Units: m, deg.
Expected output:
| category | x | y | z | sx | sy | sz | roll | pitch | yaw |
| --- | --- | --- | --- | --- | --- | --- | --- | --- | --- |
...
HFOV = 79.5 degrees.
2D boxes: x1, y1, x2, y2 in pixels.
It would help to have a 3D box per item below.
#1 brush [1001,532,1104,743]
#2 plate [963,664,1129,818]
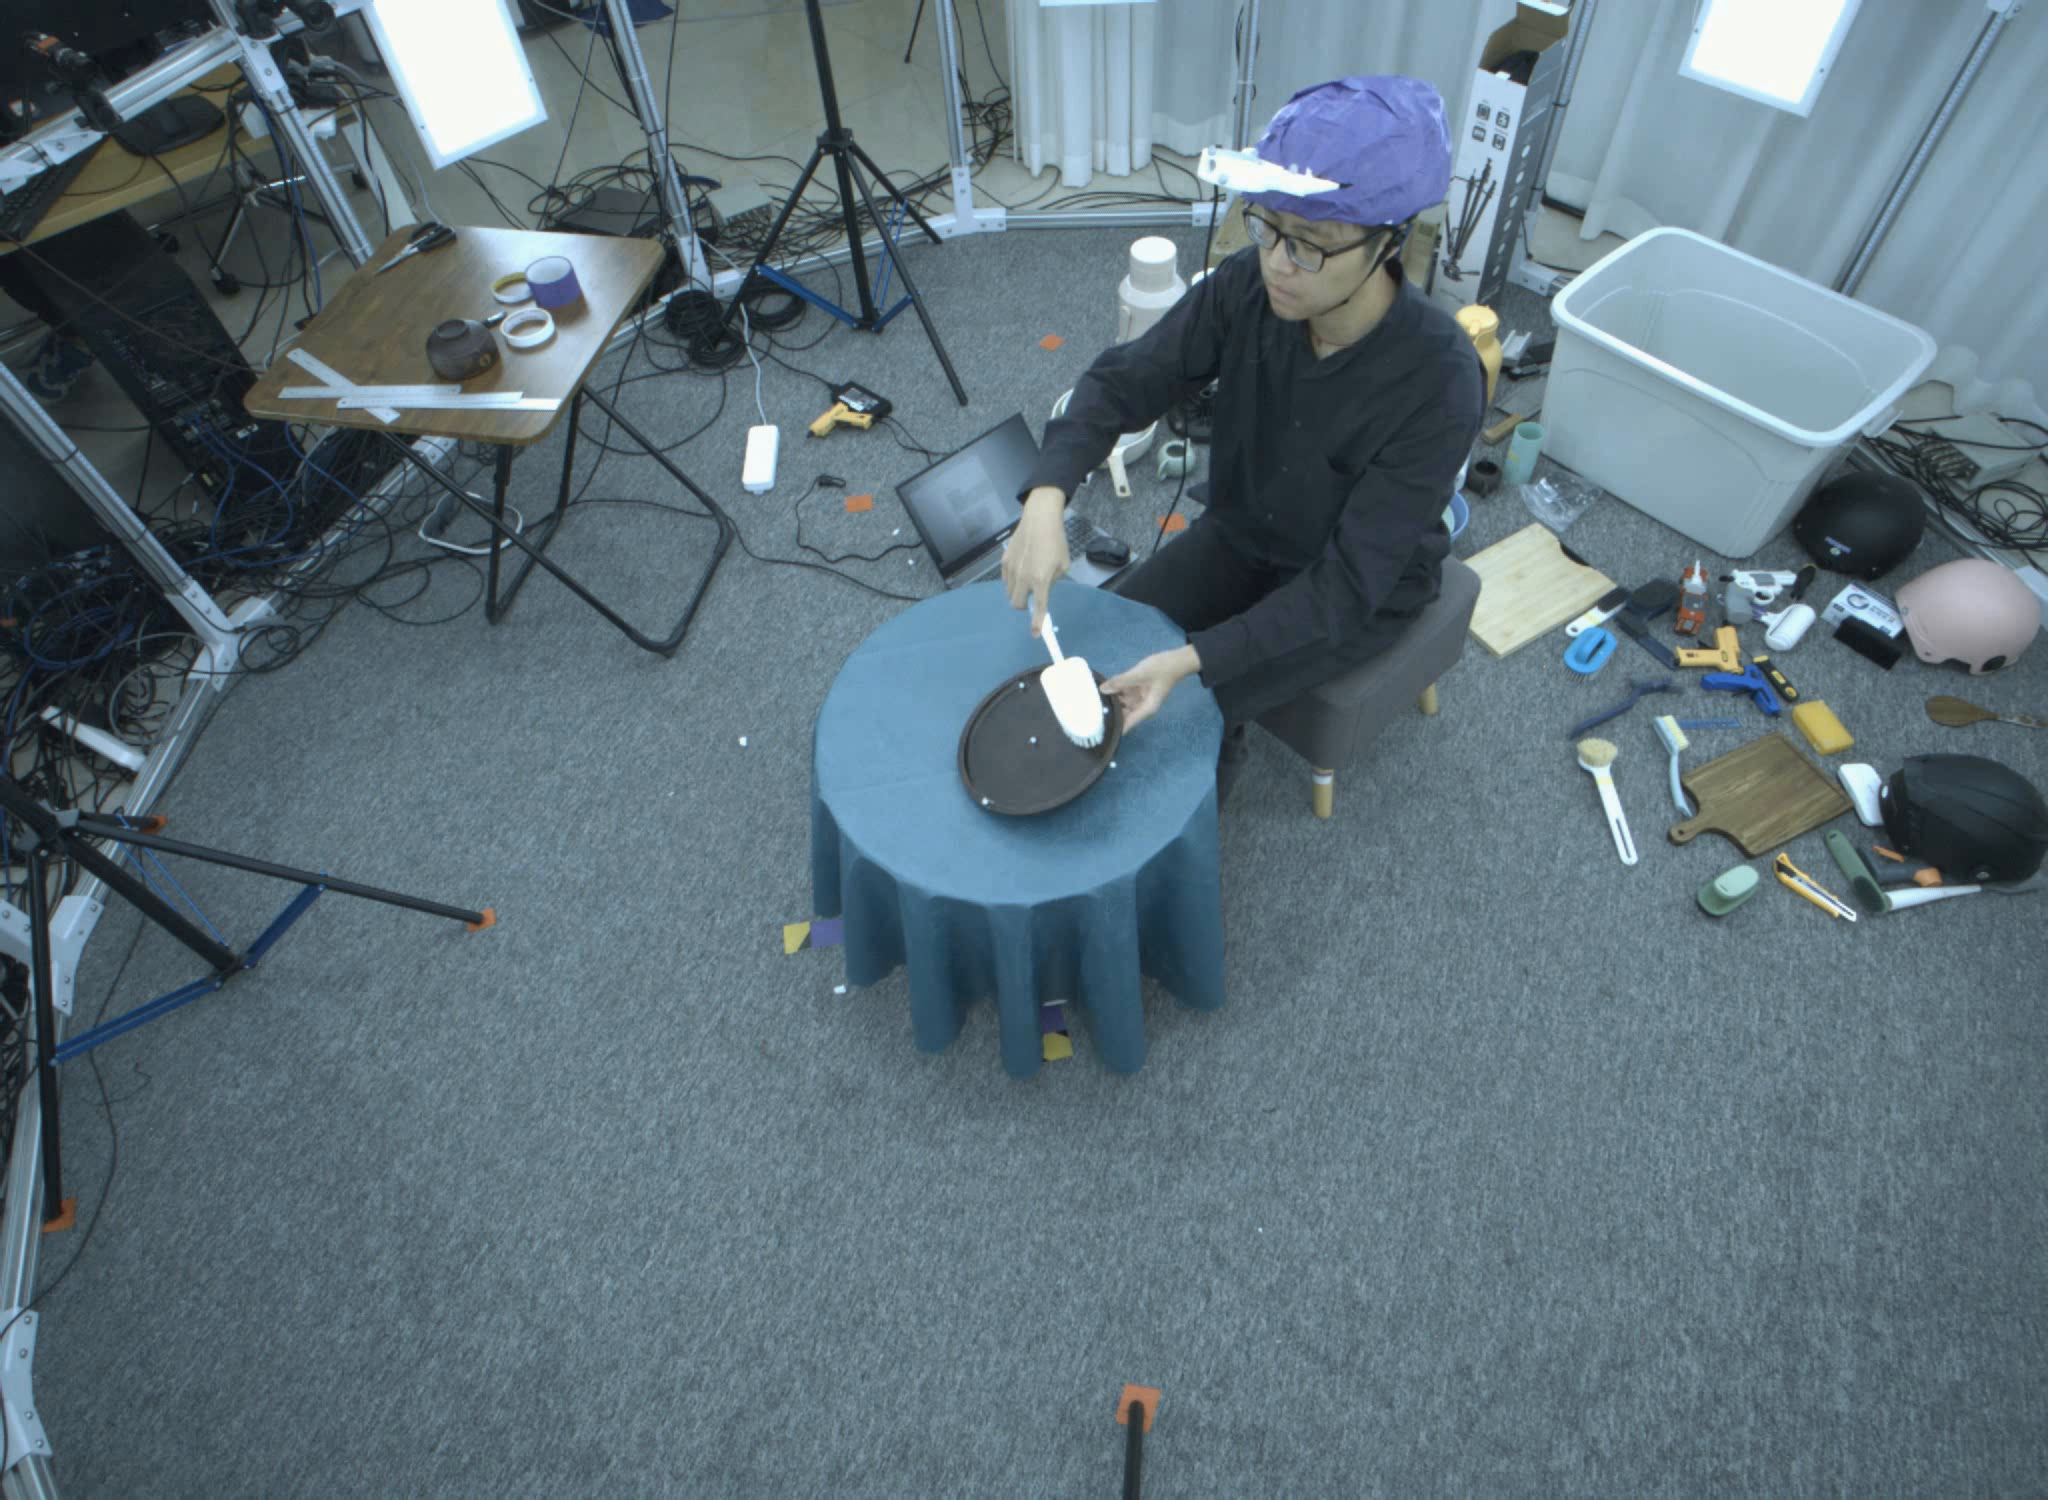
| category | x | y | z | sx | sy | sz | roll | pitch | yaw |
| --- | --- | --- | --- | --- | --- | --- | --- | --- | --- |
| brush | 0.040 | -0.158 | 1.730 | 0.084 | 0.084 | 0.323 | -12 | 74 | -33 |
| plate | 0.031 | -0.014 | 1.729 | 0.252 | 0.029 | 0.252 | -14 | 52 | 19 |
